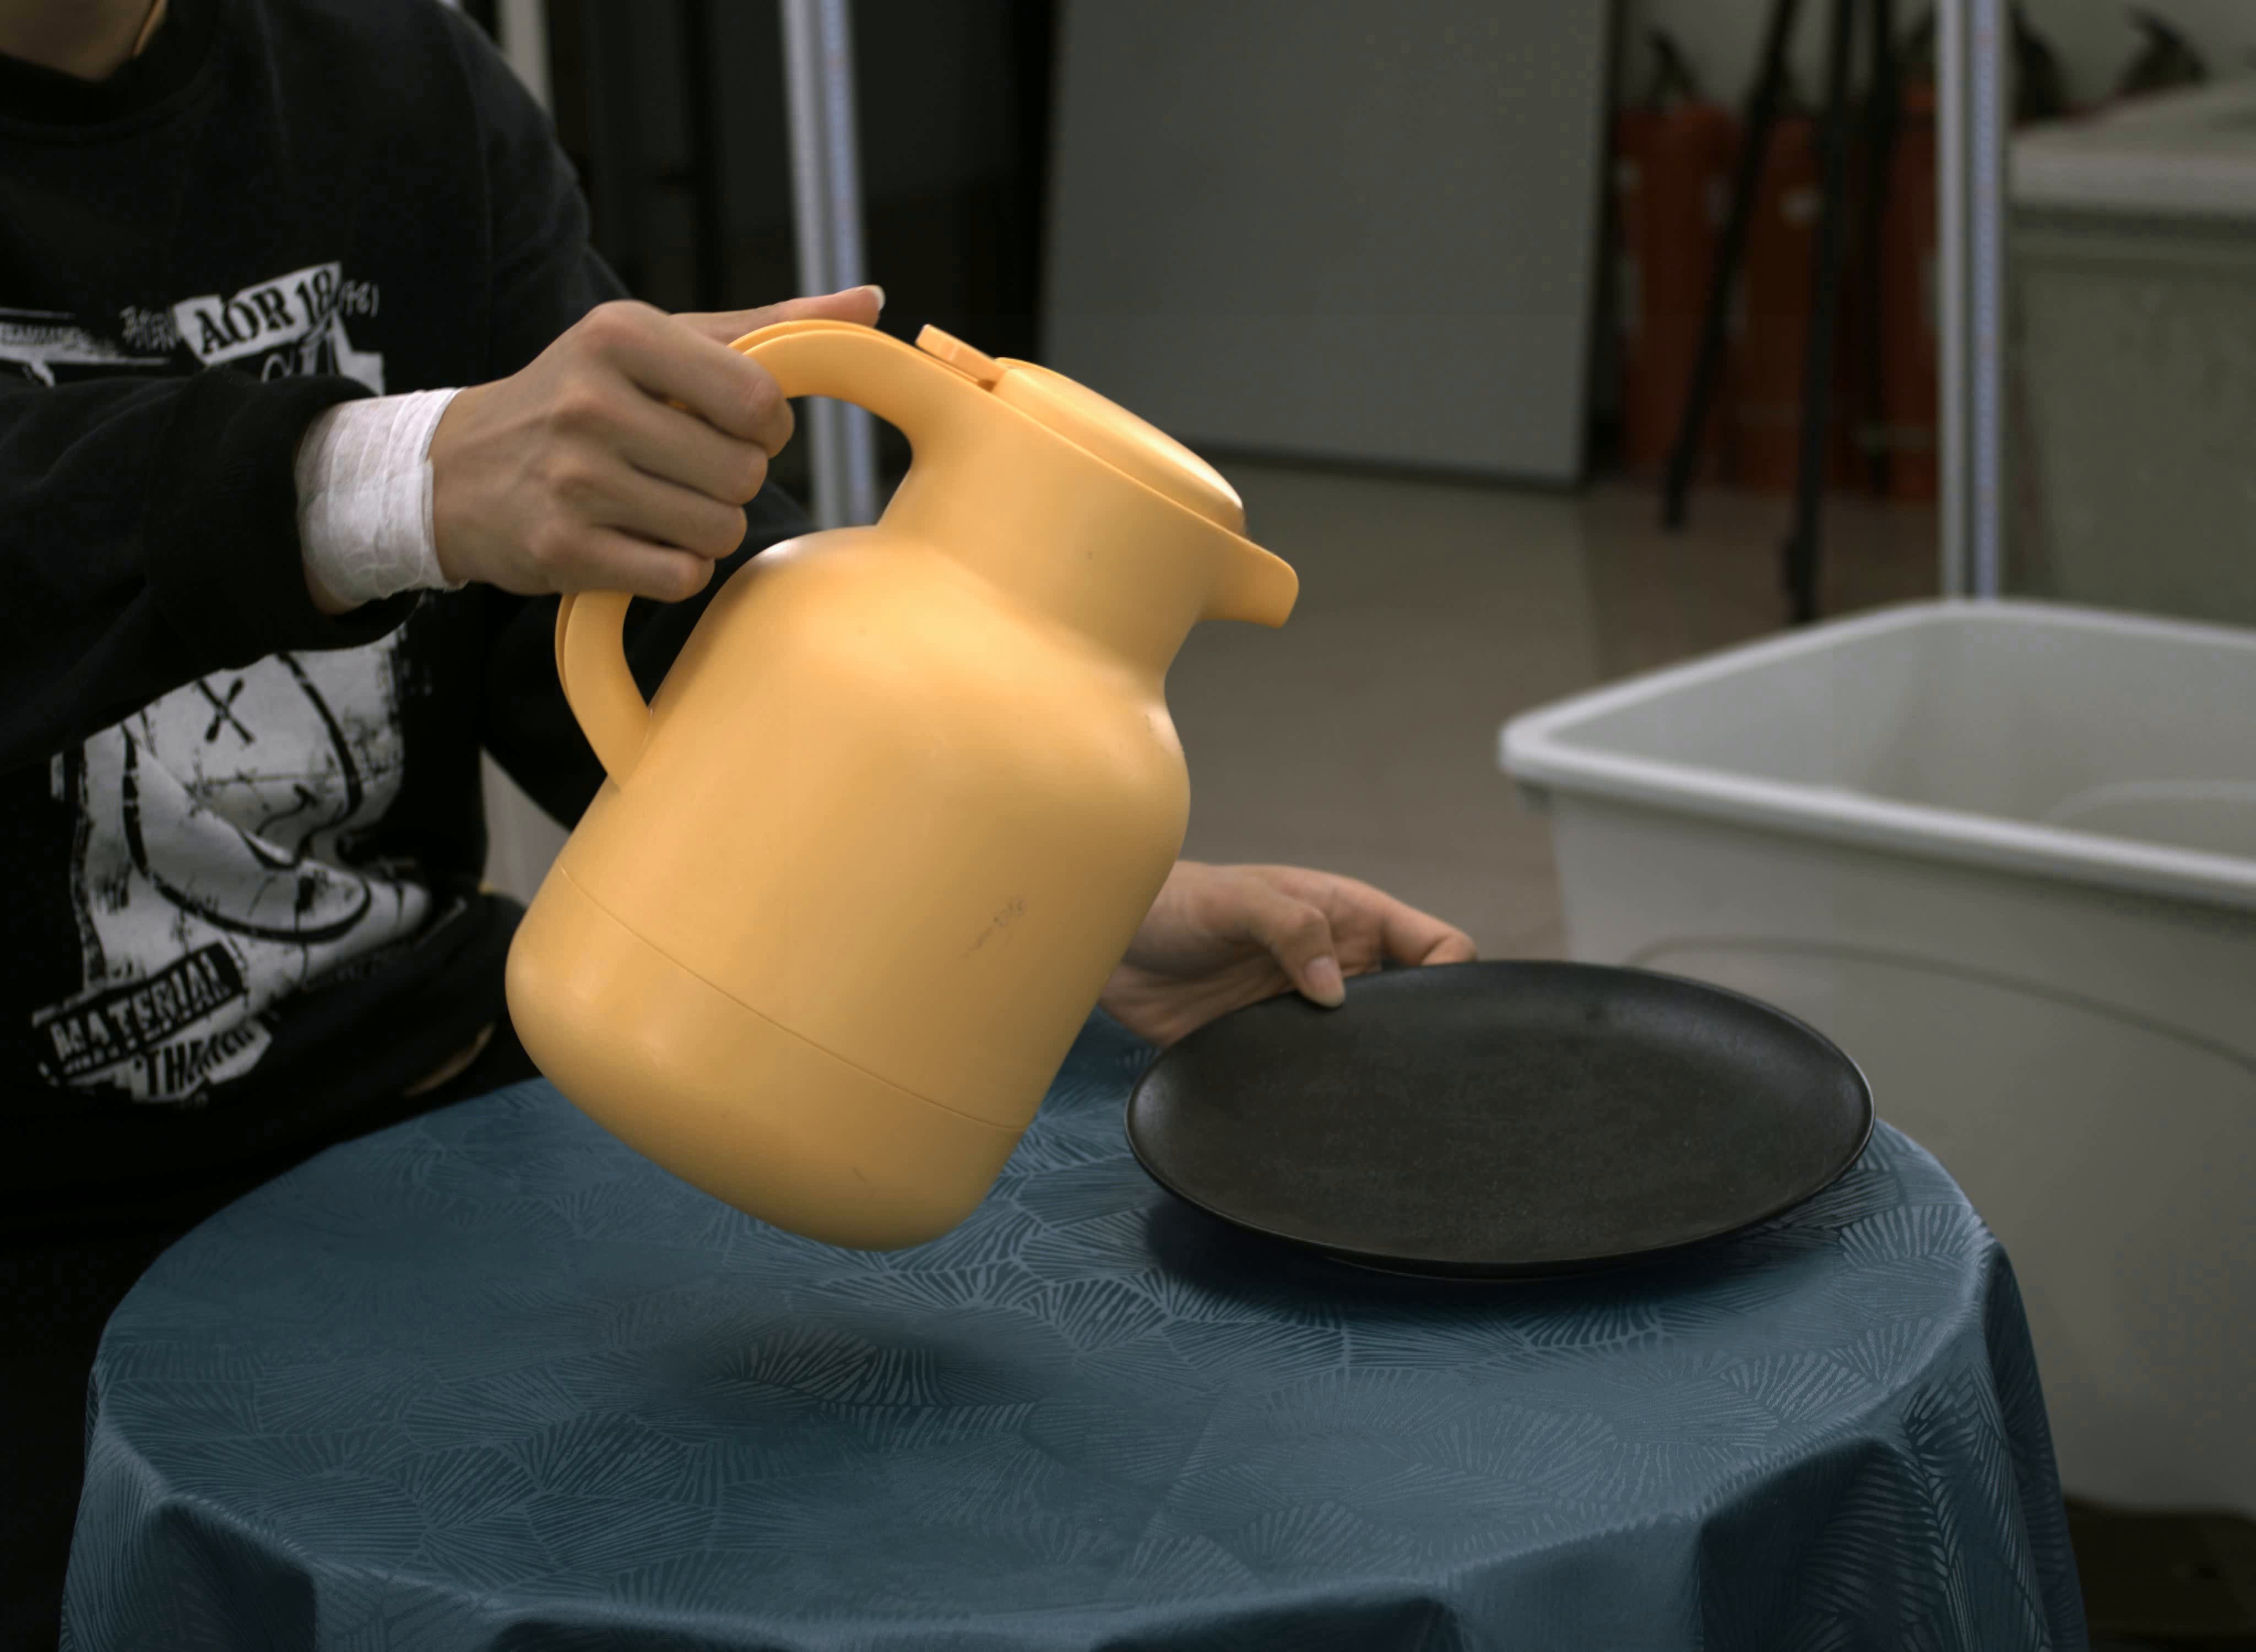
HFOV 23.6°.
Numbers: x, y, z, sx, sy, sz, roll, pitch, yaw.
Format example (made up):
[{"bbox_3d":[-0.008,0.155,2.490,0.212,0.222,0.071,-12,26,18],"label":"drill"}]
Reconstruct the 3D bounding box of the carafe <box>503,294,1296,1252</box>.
[{"bbox_3d":[-0.081,-0.025,1.602,0.200,0.262,0.164,29,3,-13],"label":"carafe"}]

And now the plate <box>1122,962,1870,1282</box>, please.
[{"bbox_3d":[0.119,0.098,1.739,0.241,0.023,0.245,-3,20,0],"label":"plate"}]
